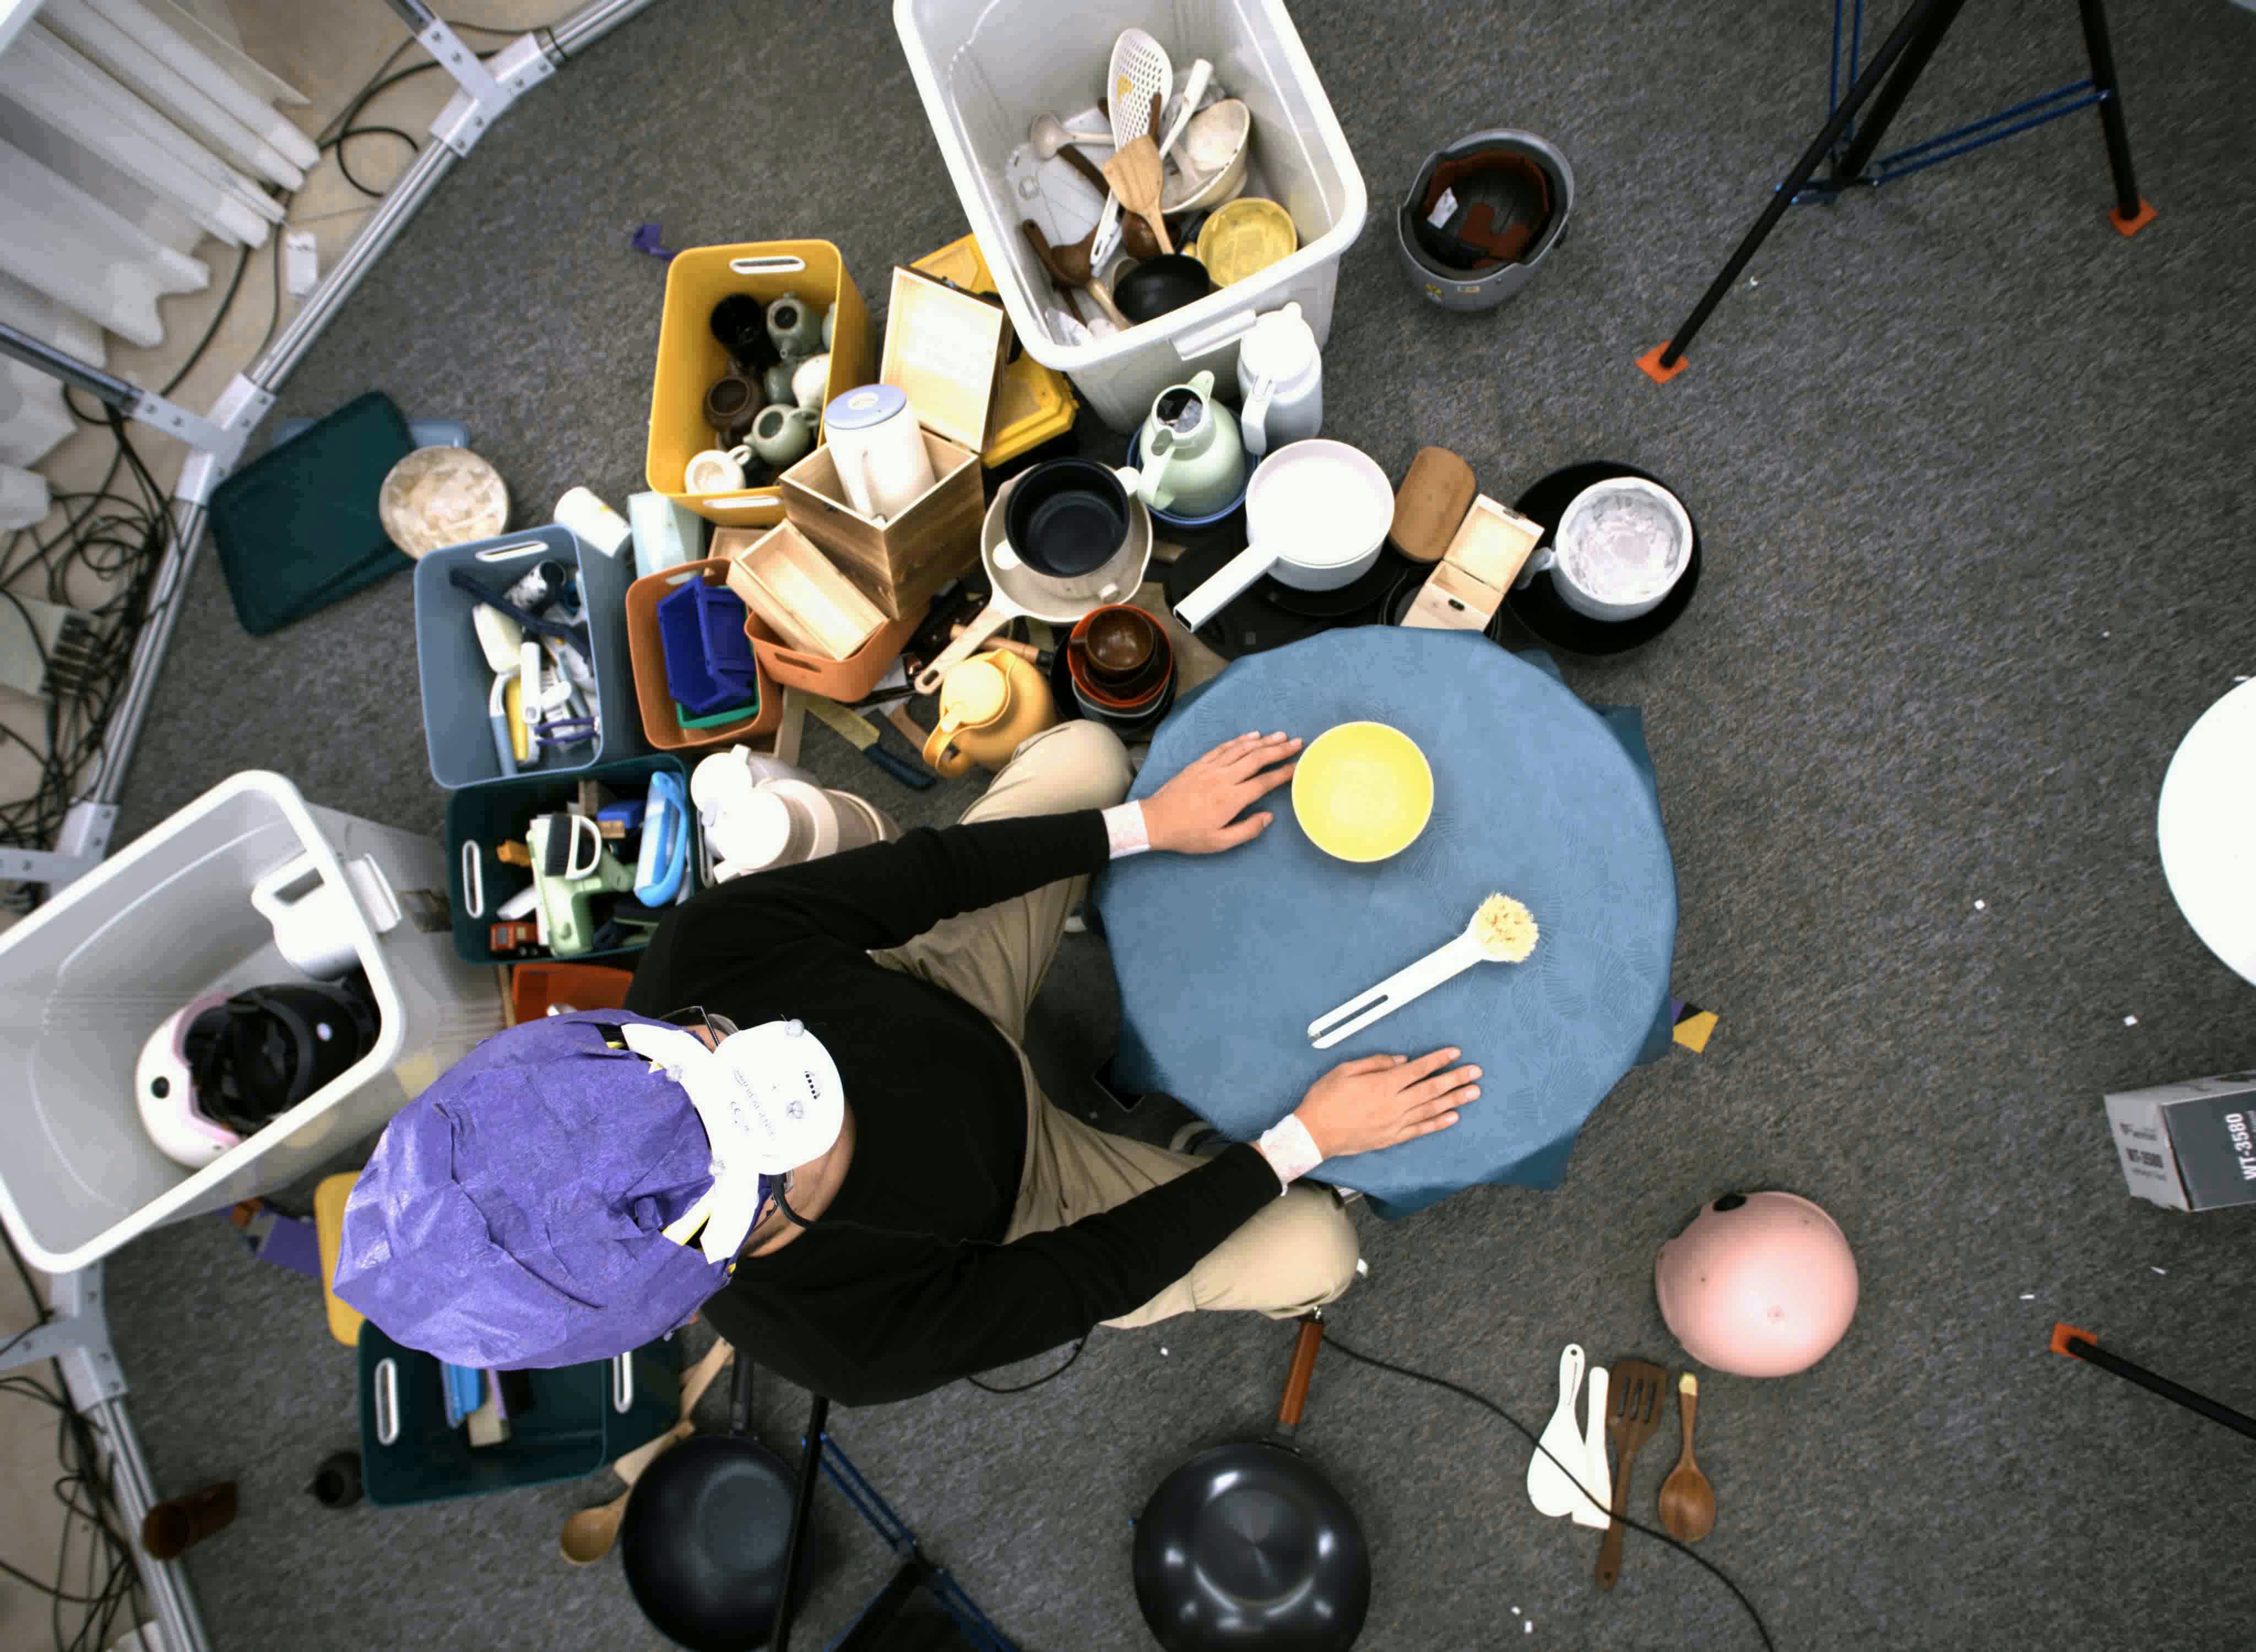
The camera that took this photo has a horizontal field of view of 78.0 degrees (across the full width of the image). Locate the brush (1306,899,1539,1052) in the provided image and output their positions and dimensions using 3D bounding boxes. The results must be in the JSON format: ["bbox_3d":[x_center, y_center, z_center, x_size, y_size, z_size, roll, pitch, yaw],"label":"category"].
[{"bbox_3d":[0.300,0.160,1.422,0.268,0.056,0.068,-30,76,8],"label":"brush"}]

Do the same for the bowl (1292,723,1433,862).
[{"bbox_3d":[0.245,-0.032,1.441,0.146,0.060,0.144,-1,85,11],"label":"bowl"}]
